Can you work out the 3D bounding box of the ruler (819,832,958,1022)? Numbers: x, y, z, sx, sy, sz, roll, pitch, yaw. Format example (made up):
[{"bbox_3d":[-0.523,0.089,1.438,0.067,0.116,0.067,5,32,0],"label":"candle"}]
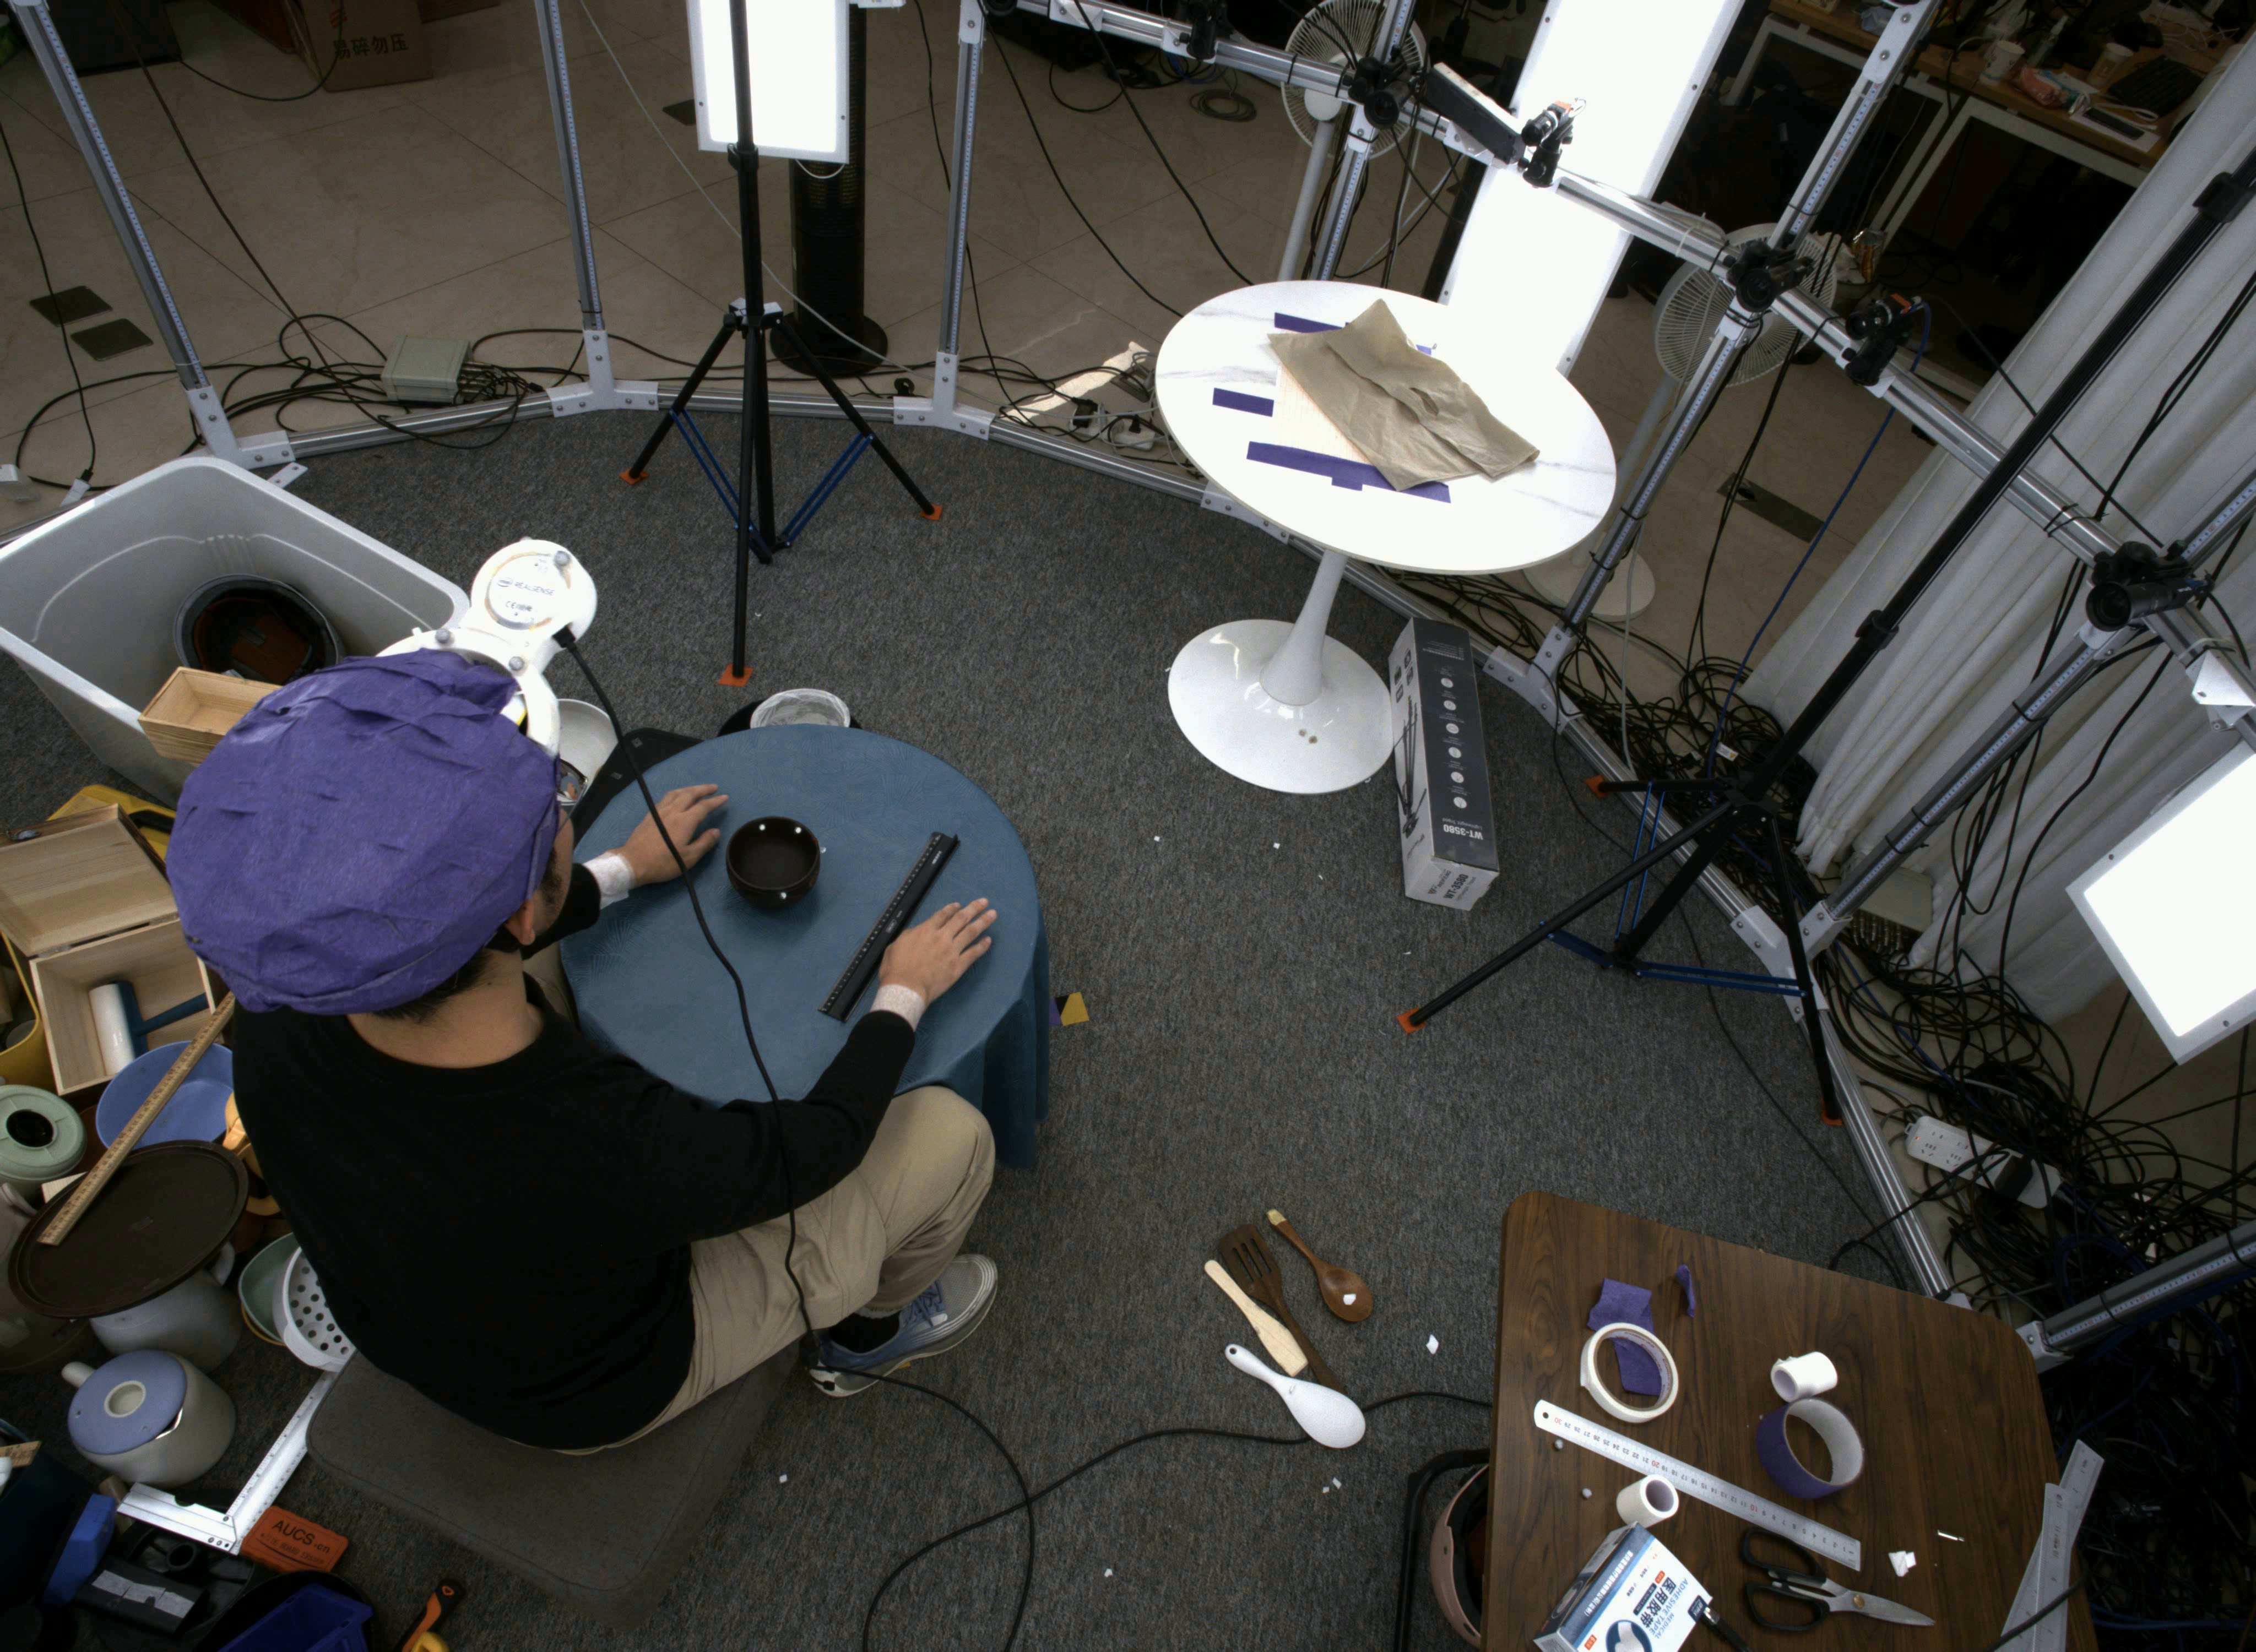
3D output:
[{"bbox_3d":[-0.300,0.115,1.655,0.038,0.017,0.310,22,51,8],"label":"ruler"}]

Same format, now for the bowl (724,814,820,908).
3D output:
[{"bbox_3d":[-0.447,0.051,1.627,0.118,0.071,0.116,8,51,-8],"label":"bowl"}]
